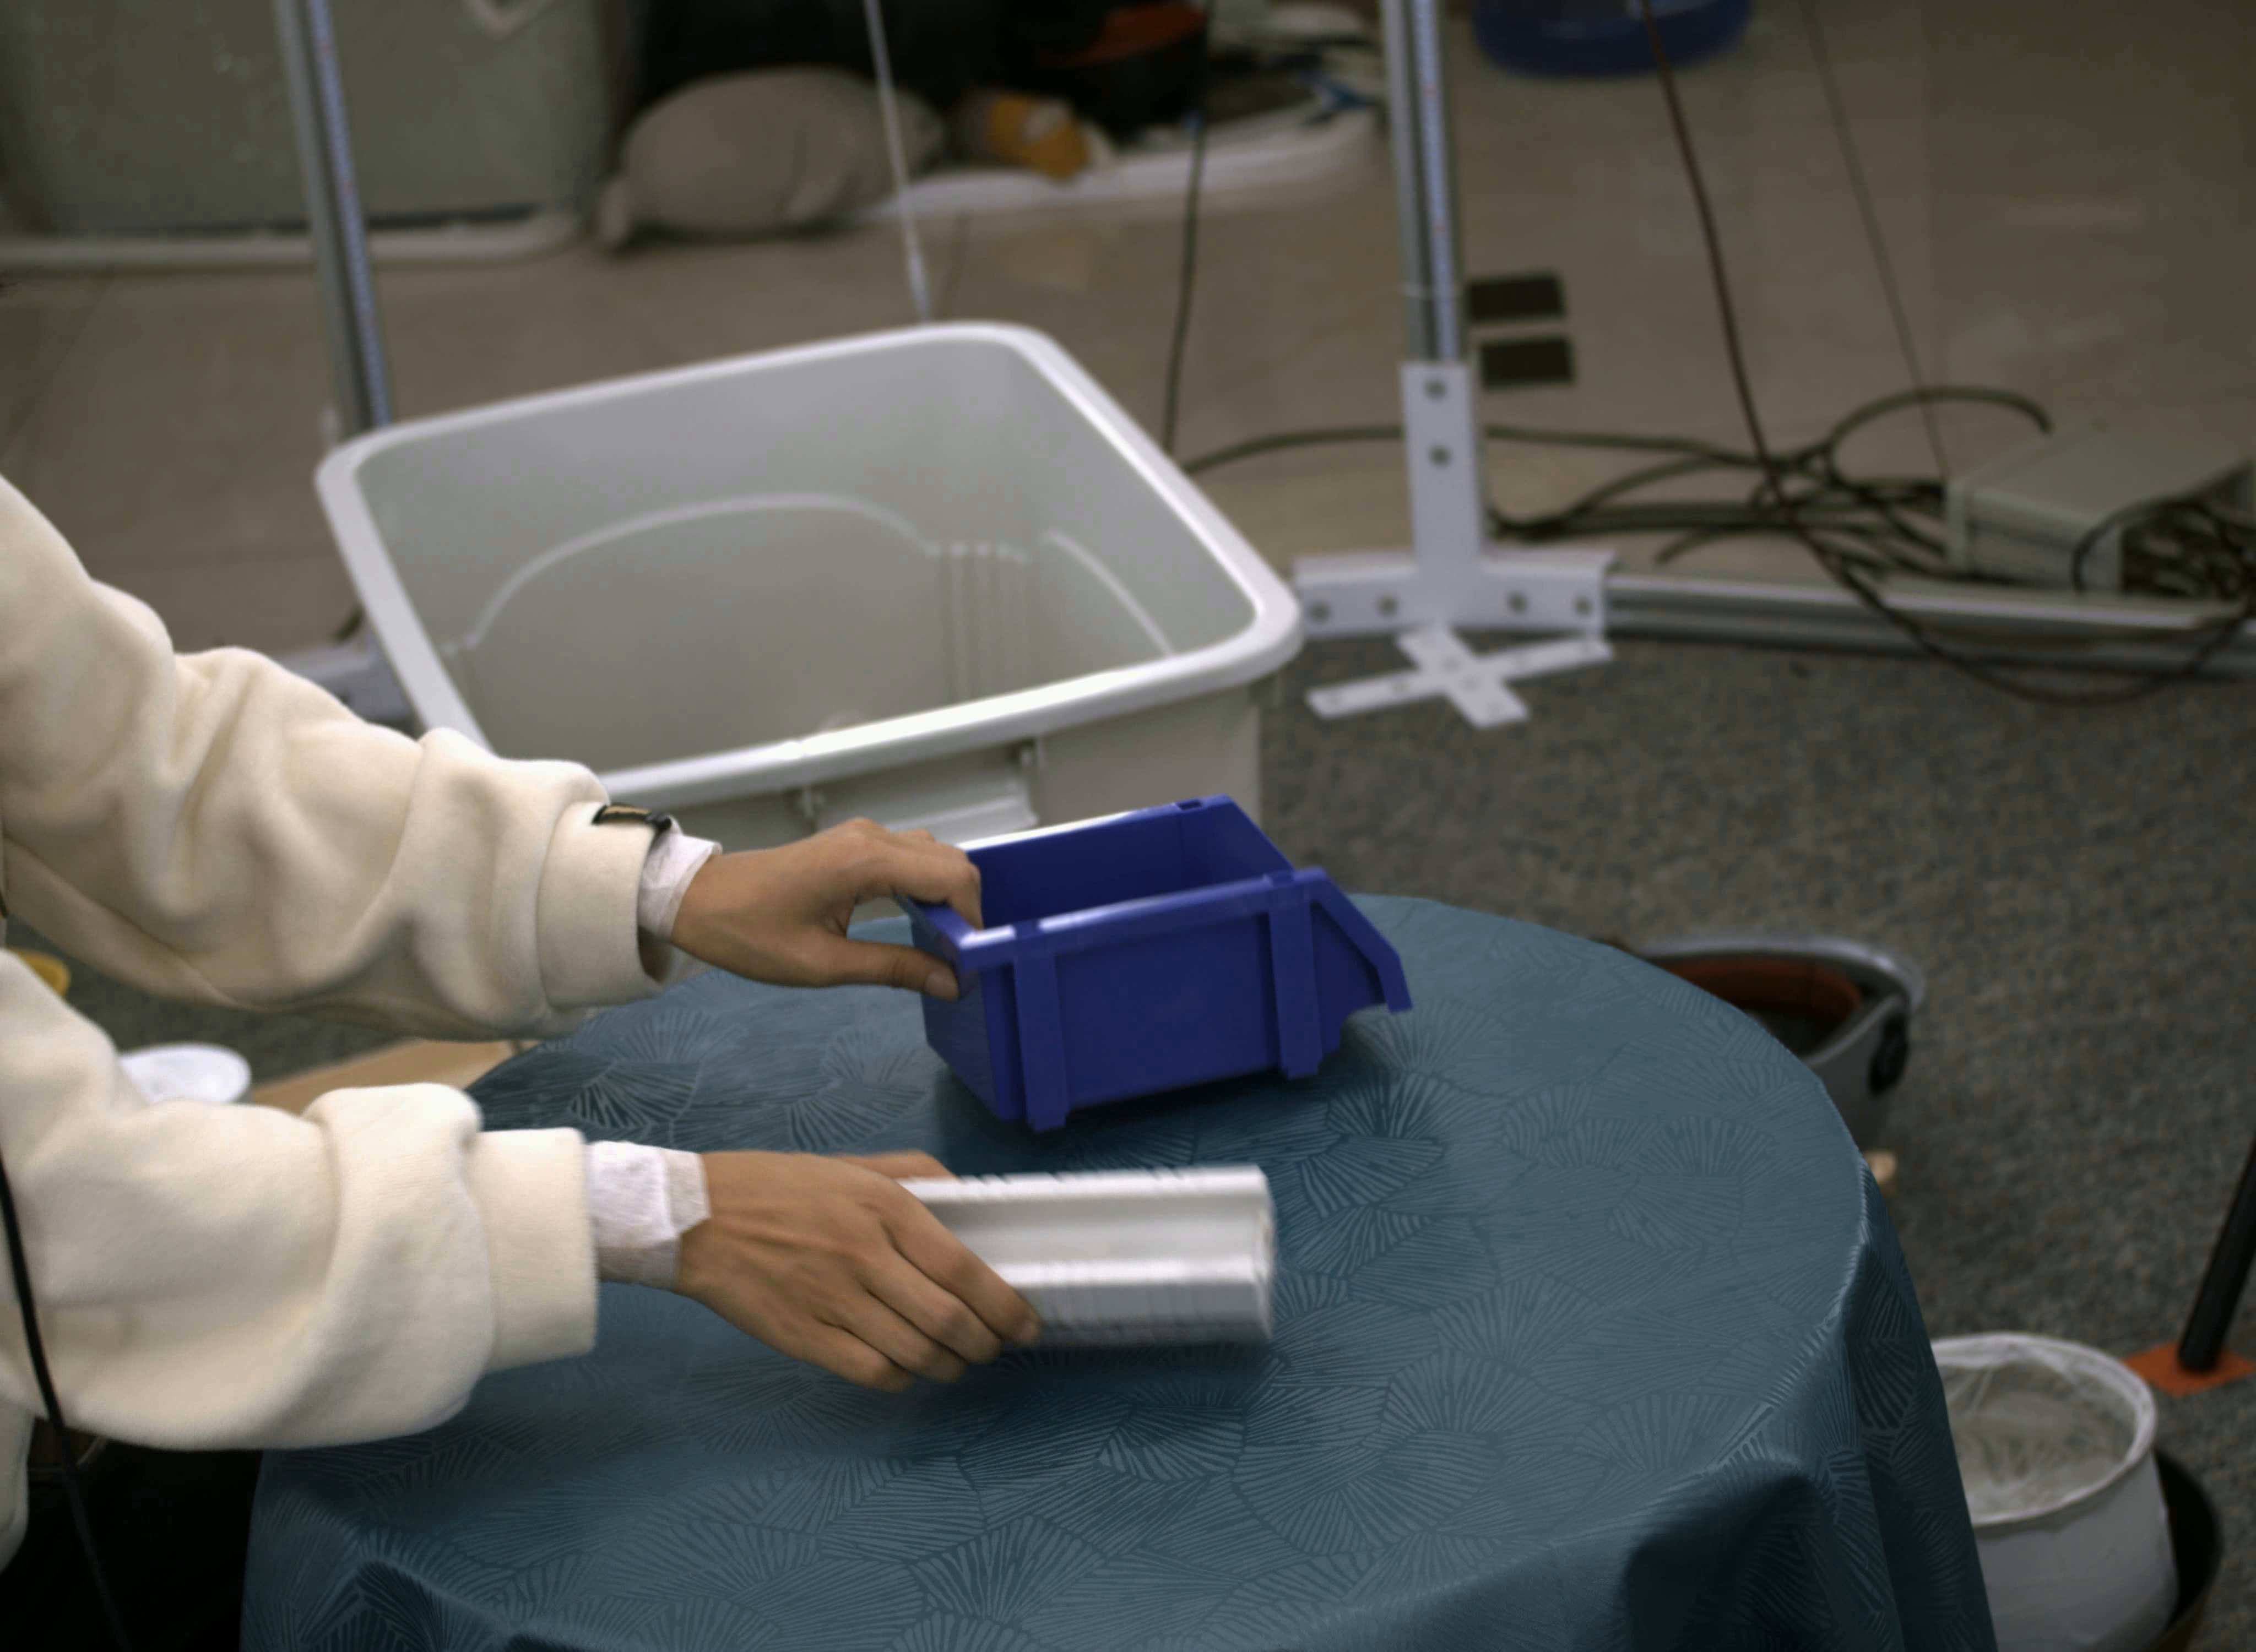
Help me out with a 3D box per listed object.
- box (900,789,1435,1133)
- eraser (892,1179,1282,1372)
[{"bbox_3d":[0.015,0.050,2.224,0.179,0.083,0.123,-12,21,-13],"label":"box"},{"bbox_3d":[-0.013,0.161,2.016,0.134,0.047,0.049,-3,51,8],"label":"eraser"}]
